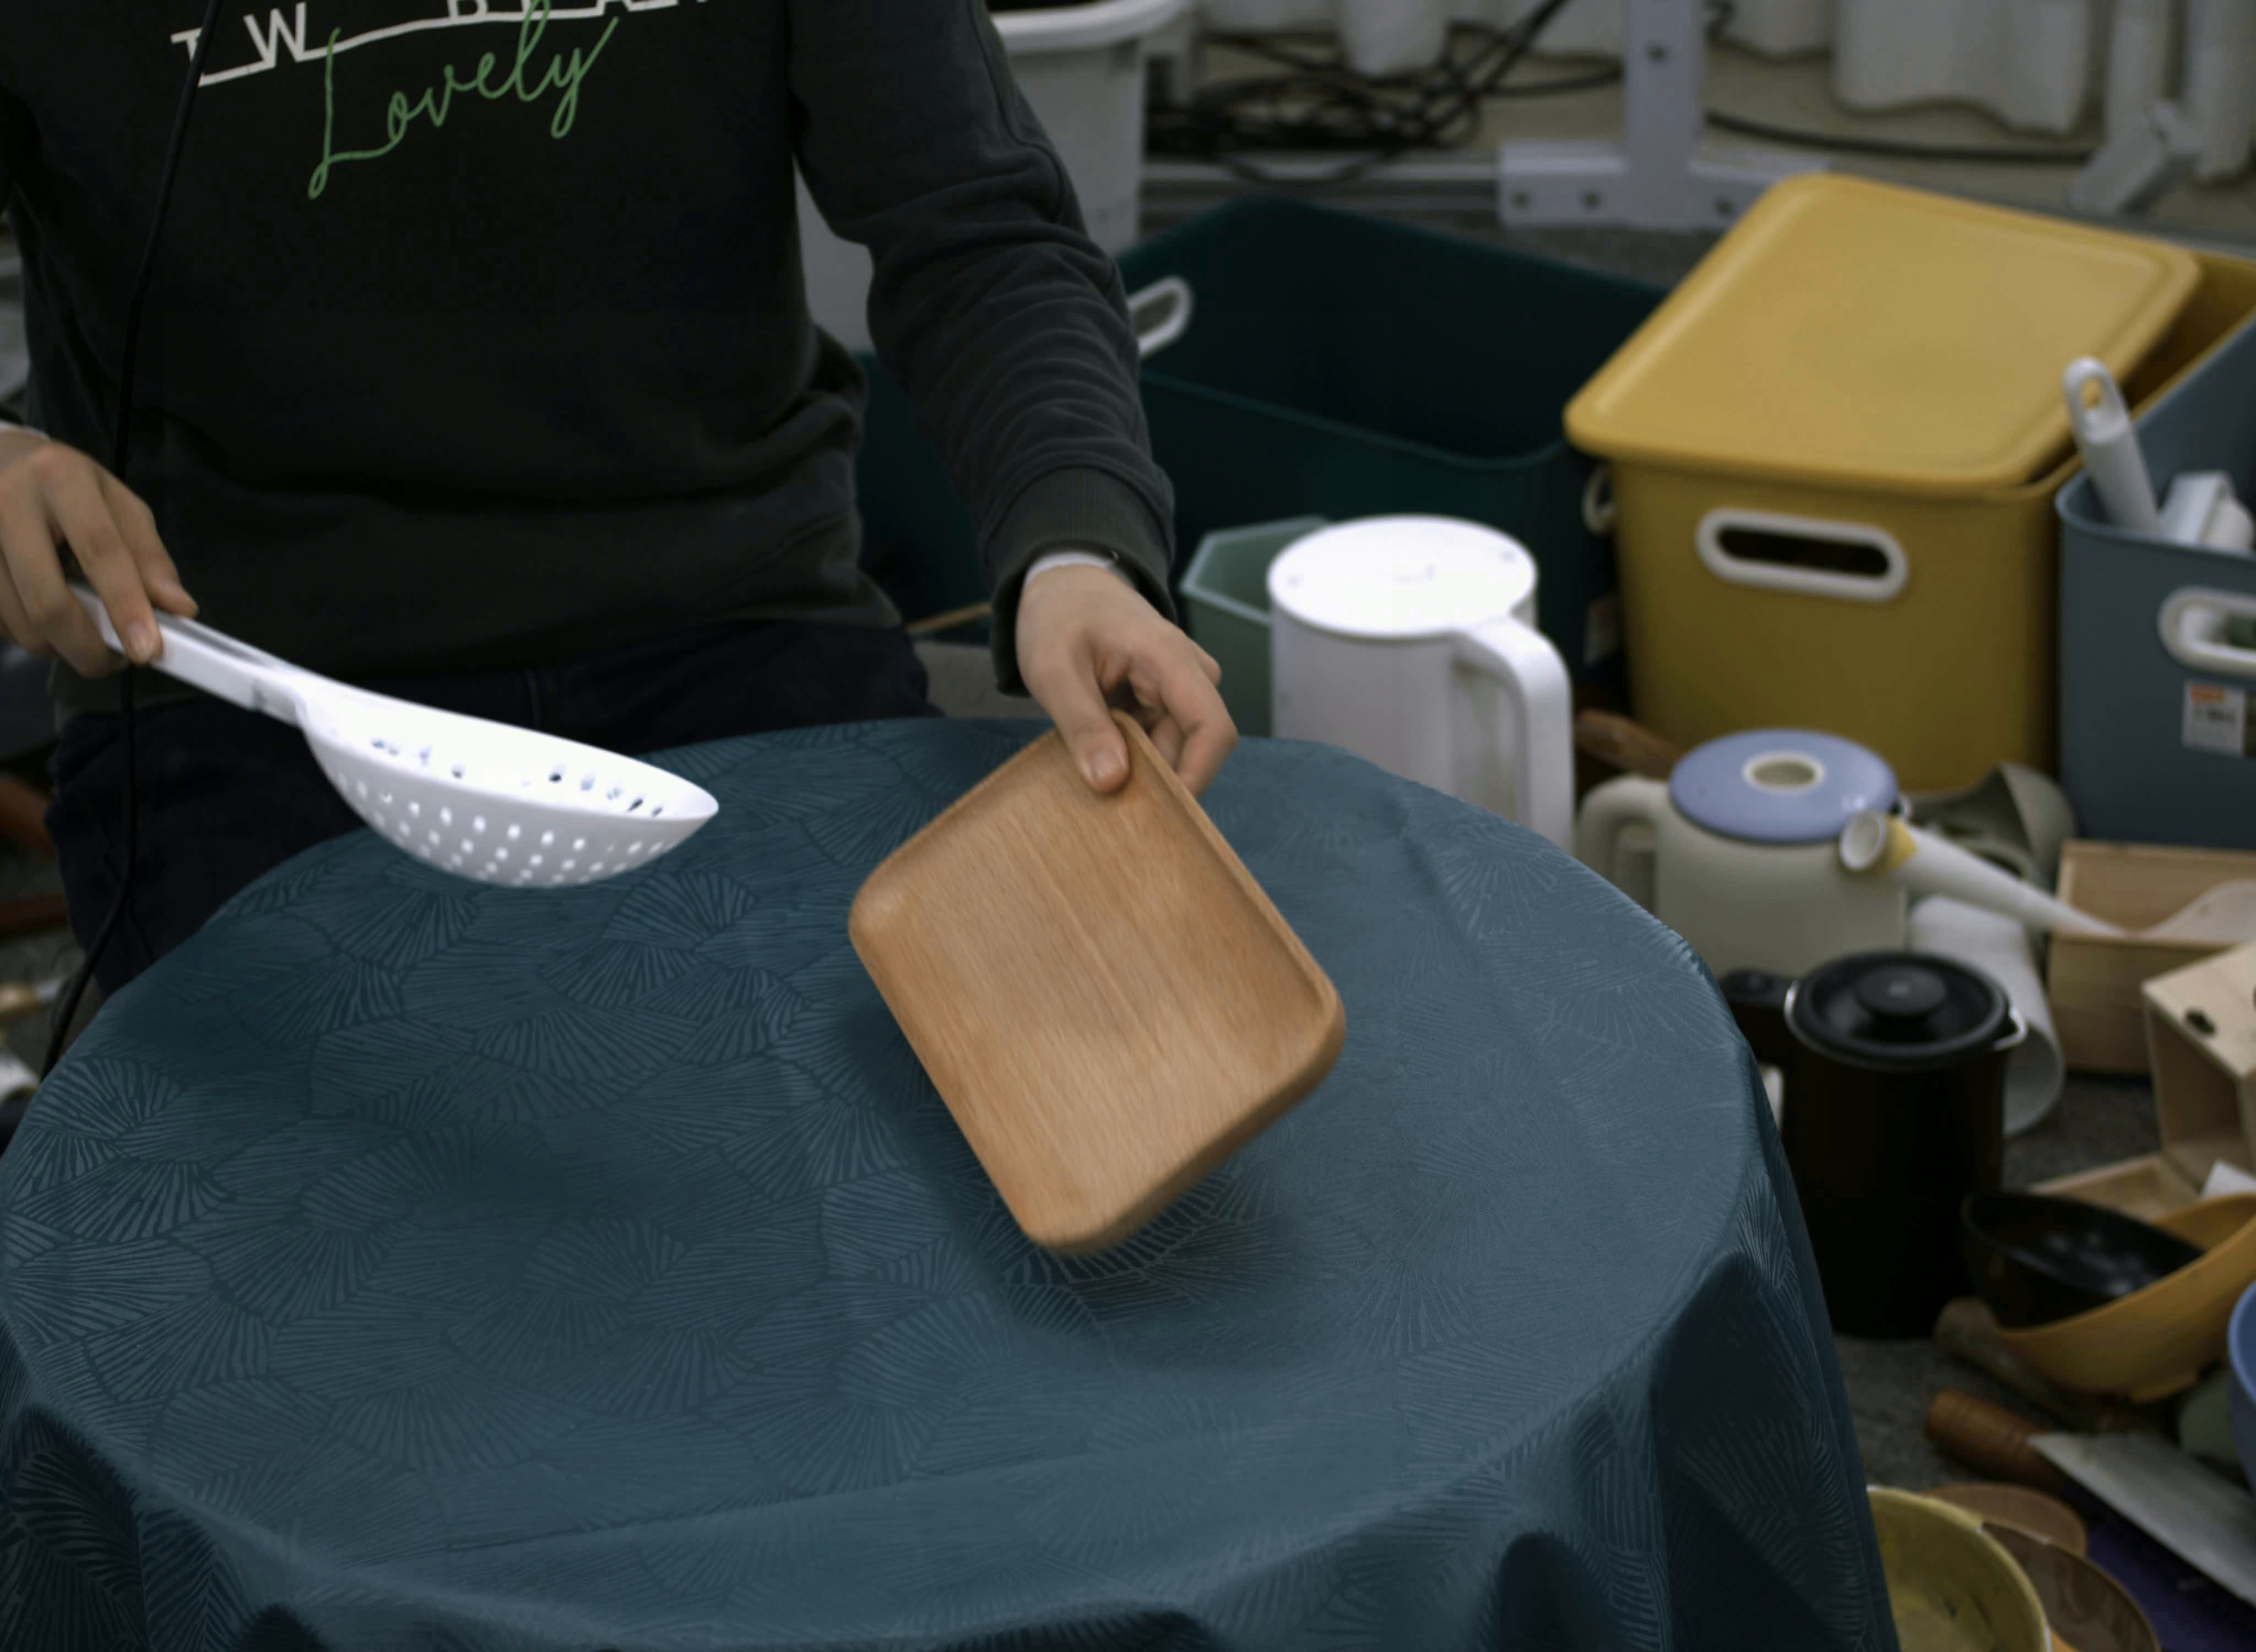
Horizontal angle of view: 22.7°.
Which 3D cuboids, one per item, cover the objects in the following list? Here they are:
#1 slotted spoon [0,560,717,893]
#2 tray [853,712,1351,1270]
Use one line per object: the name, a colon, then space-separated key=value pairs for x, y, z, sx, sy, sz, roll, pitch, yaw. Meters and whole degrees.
slotted spoon: x=-0.275 y=-0.040 z=1.884 sx=0.136 sy=0.045 sz=0.350 roll=5 pitch=16 yaw=-47
tray: x=-0.011 y=0.053 z=1.875 sx=0.130 sy=0.022 sz=0.253 roll=-36 pitch=32 yaw=1
